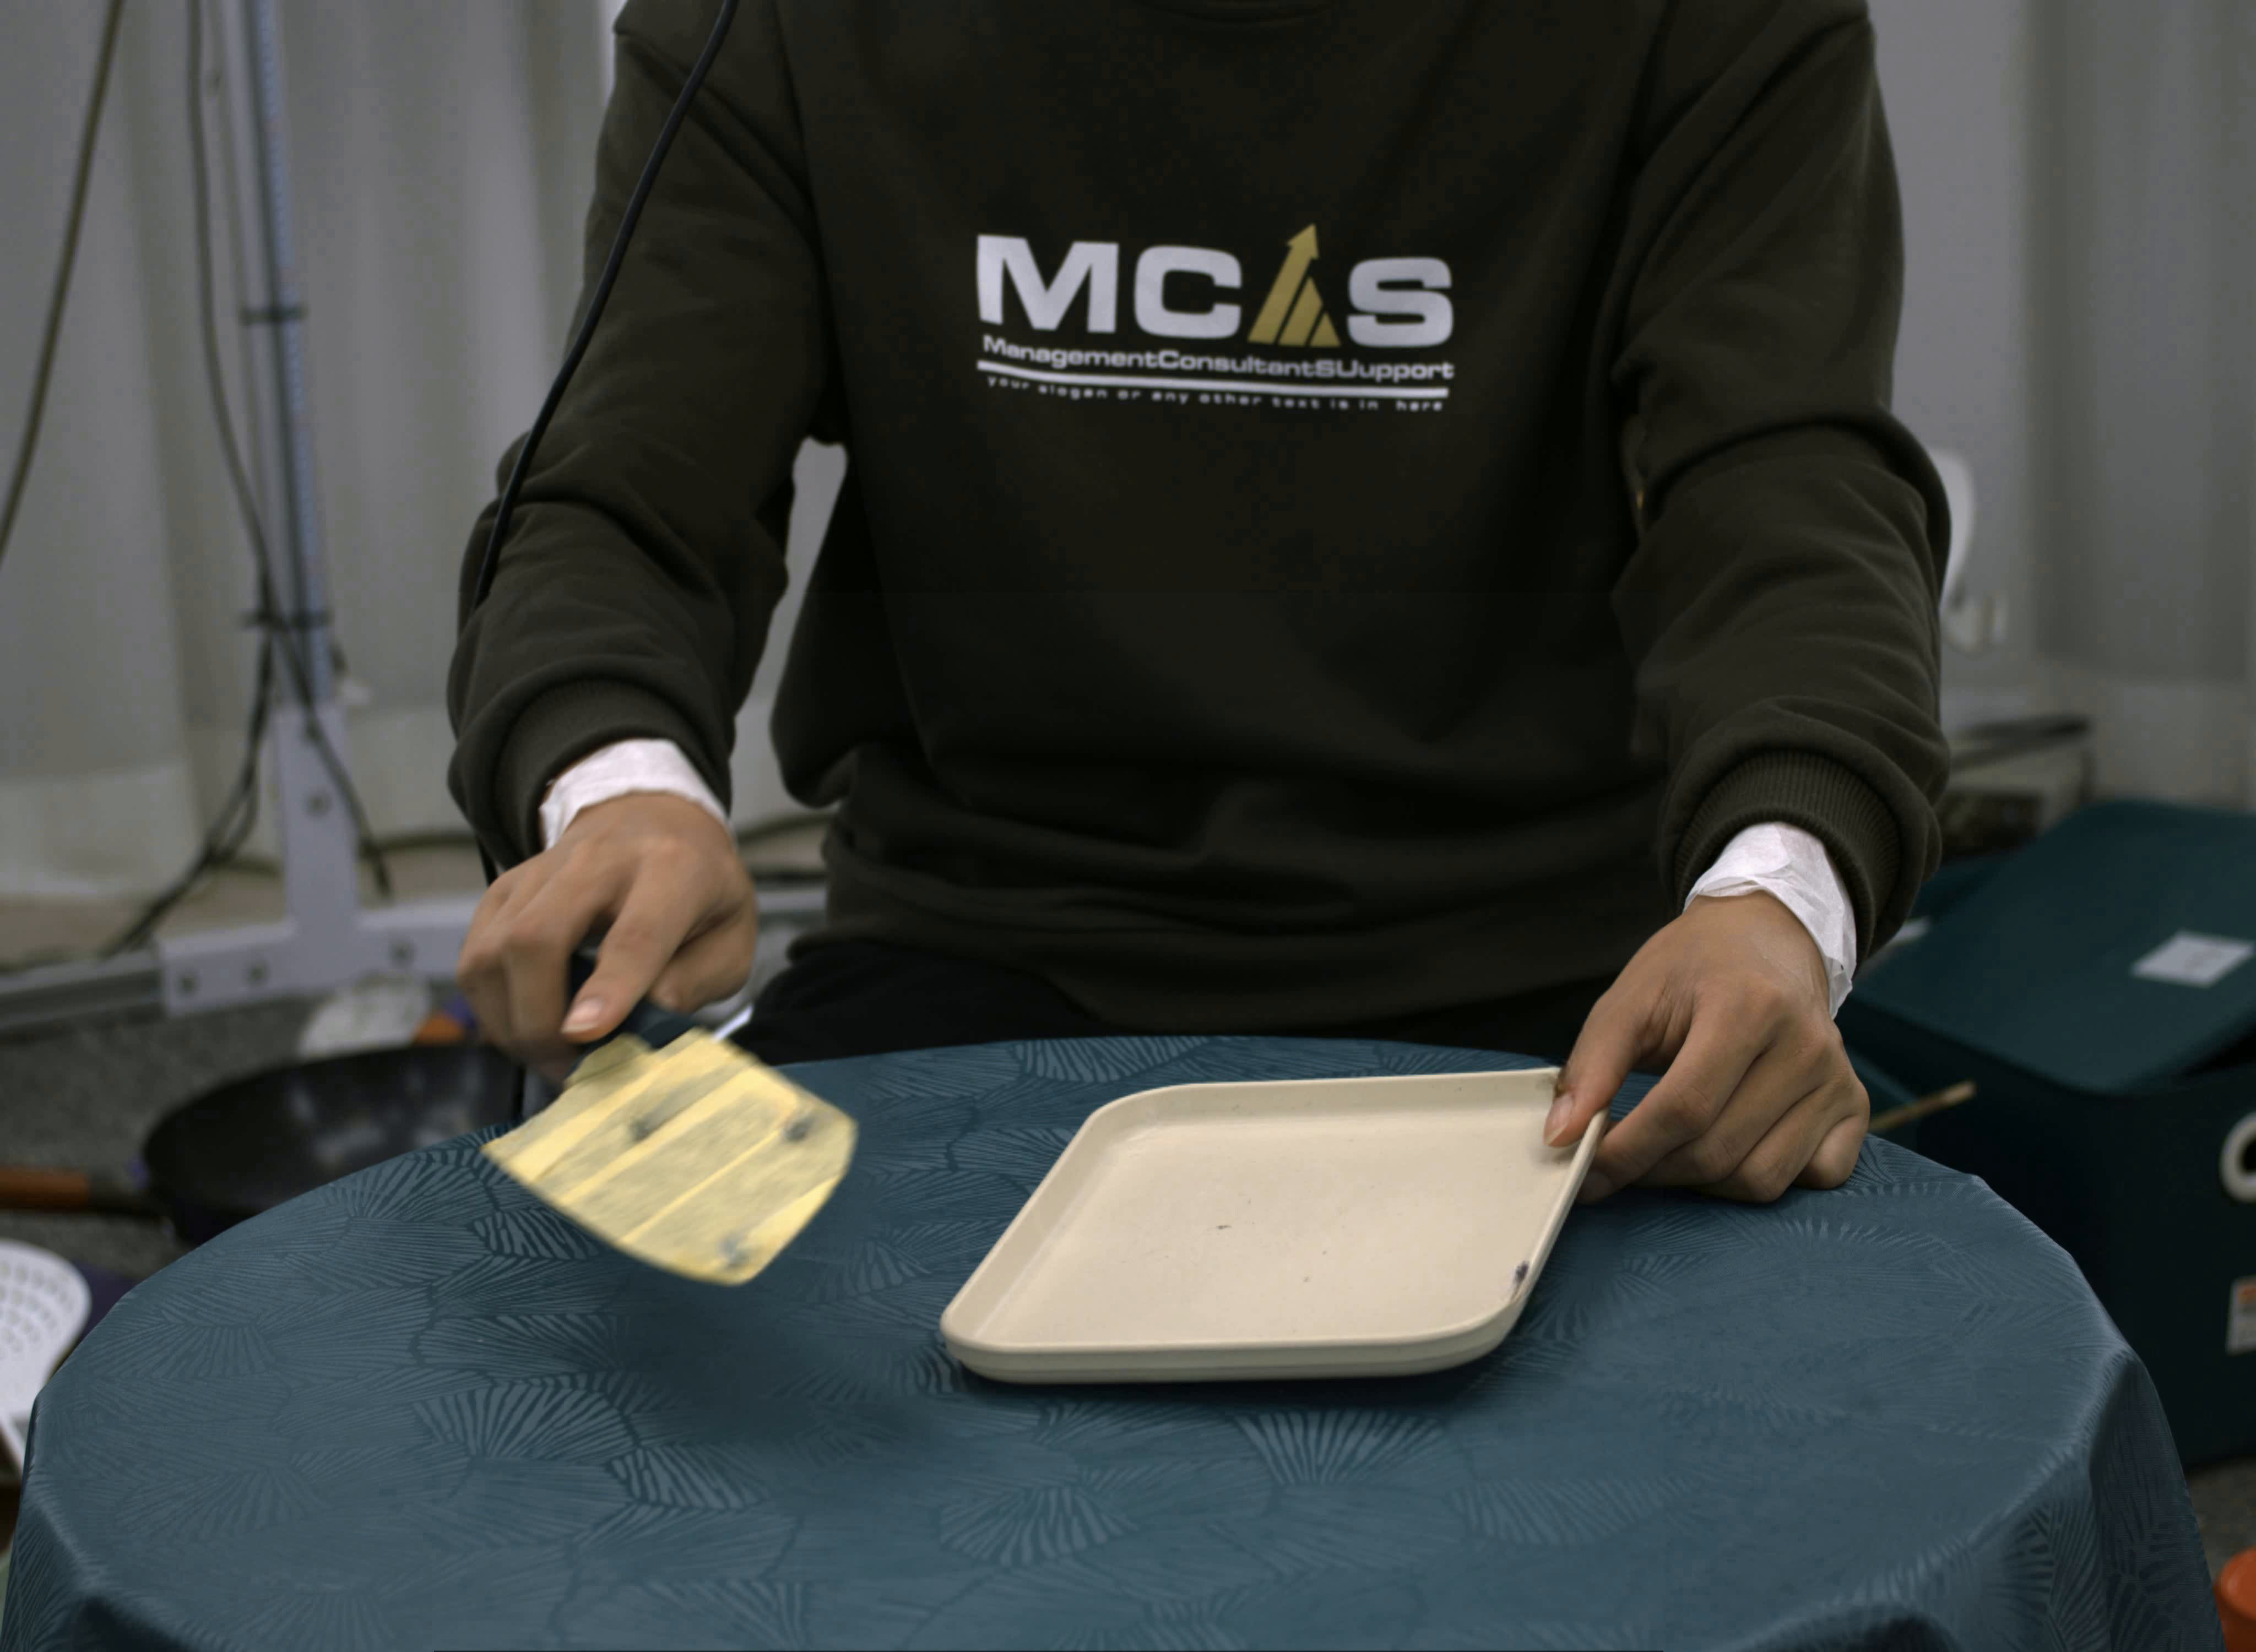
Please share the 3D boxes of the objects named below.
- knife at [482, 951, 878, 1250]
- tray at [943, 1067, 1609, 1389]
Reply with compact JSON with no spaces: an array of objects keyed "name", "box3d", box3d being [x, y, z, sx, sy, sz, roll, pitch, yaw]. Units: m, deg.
[{"name":"knife","box3d":[-0.146,0.080,1.622,0.081,0.027,0.291,-33,22,-15]},{"name":"tray","box3d":[0.049,0.120,1.636,0.171,0.017,0.241,-4,15,15]}]
